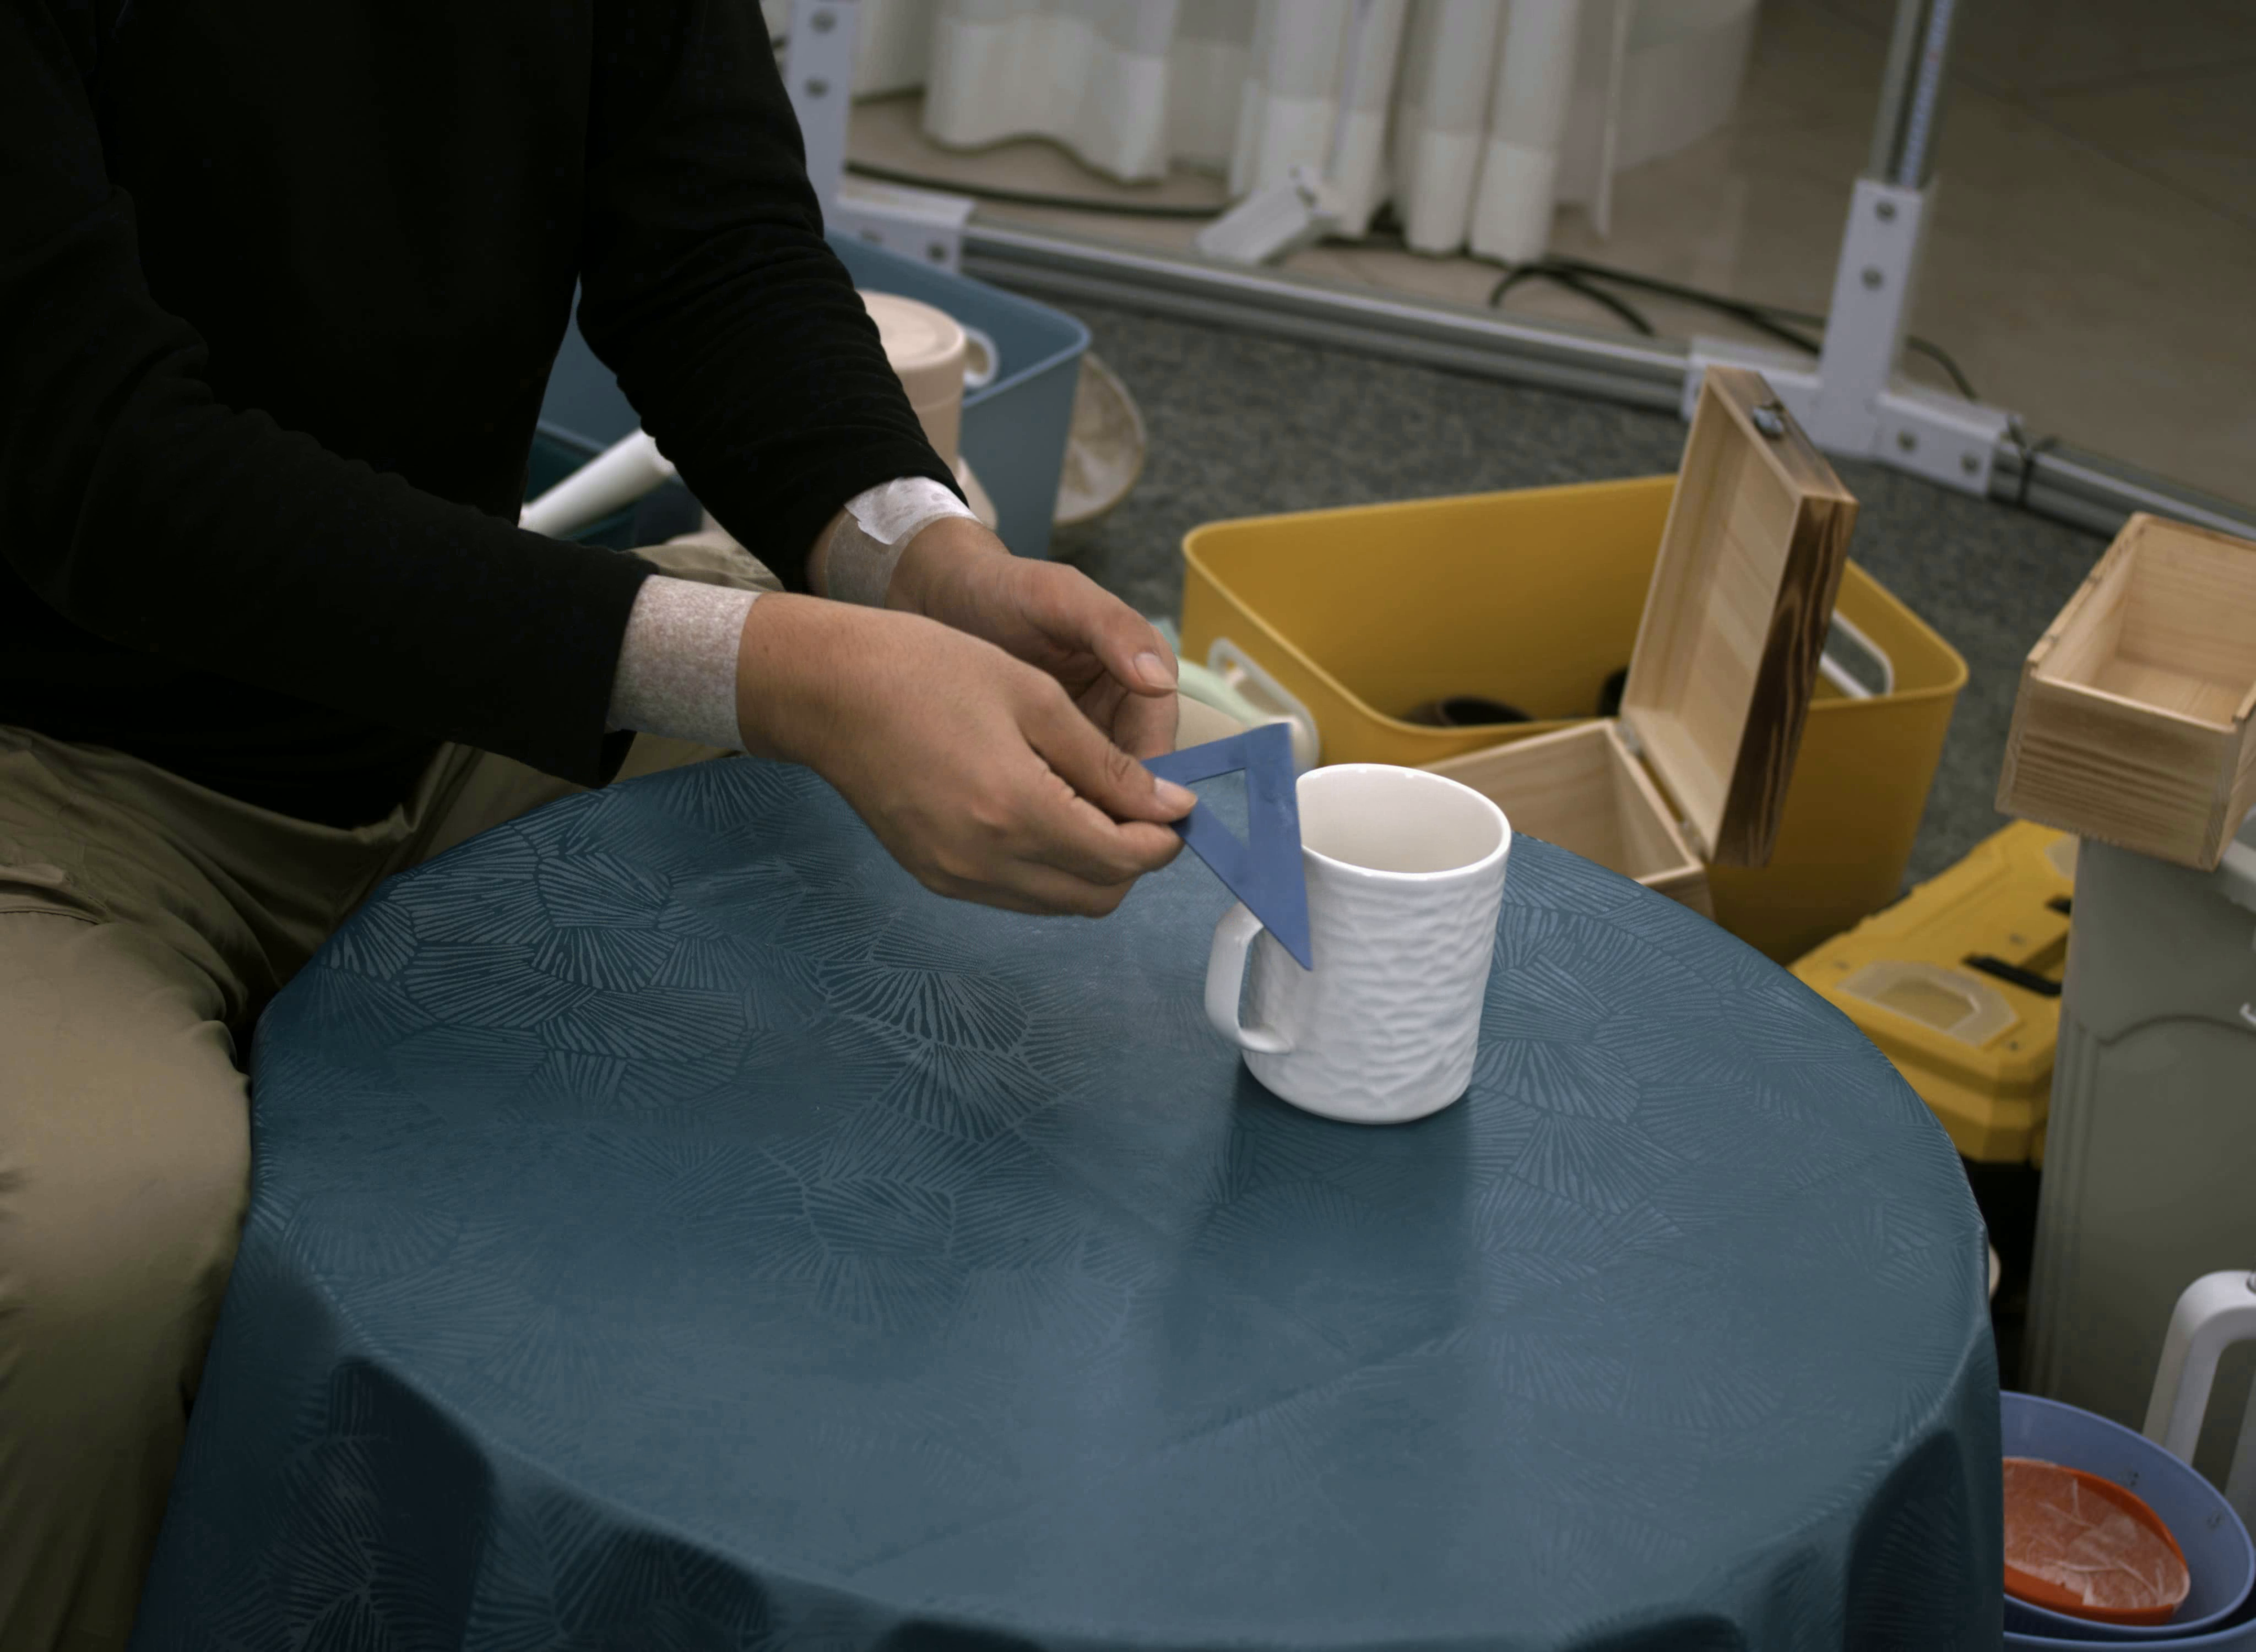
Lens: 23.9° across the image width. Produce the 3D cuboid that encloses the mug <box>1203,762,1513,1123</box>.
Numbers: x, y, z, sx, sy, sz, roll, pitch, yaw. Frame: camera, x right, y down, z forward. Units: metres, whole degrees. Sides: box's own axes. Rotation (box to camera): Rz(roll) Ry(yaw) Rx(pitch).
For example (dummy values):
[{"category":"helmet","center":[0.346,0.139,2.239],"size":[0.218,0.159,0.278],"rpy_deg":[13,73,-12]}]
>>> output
[{"category":"mug","center":[0.074,0.045,1.859],"size":[0.117,0.101,0.085],"rpy_deg":[-16,35,-39]}]

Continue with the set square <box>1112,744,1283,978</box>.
[{"category":"set square","center":[0.022,0.006,1.781],"size":[0.061,0.006,0.133],"rpy_deg":[9,37,-1]}]
